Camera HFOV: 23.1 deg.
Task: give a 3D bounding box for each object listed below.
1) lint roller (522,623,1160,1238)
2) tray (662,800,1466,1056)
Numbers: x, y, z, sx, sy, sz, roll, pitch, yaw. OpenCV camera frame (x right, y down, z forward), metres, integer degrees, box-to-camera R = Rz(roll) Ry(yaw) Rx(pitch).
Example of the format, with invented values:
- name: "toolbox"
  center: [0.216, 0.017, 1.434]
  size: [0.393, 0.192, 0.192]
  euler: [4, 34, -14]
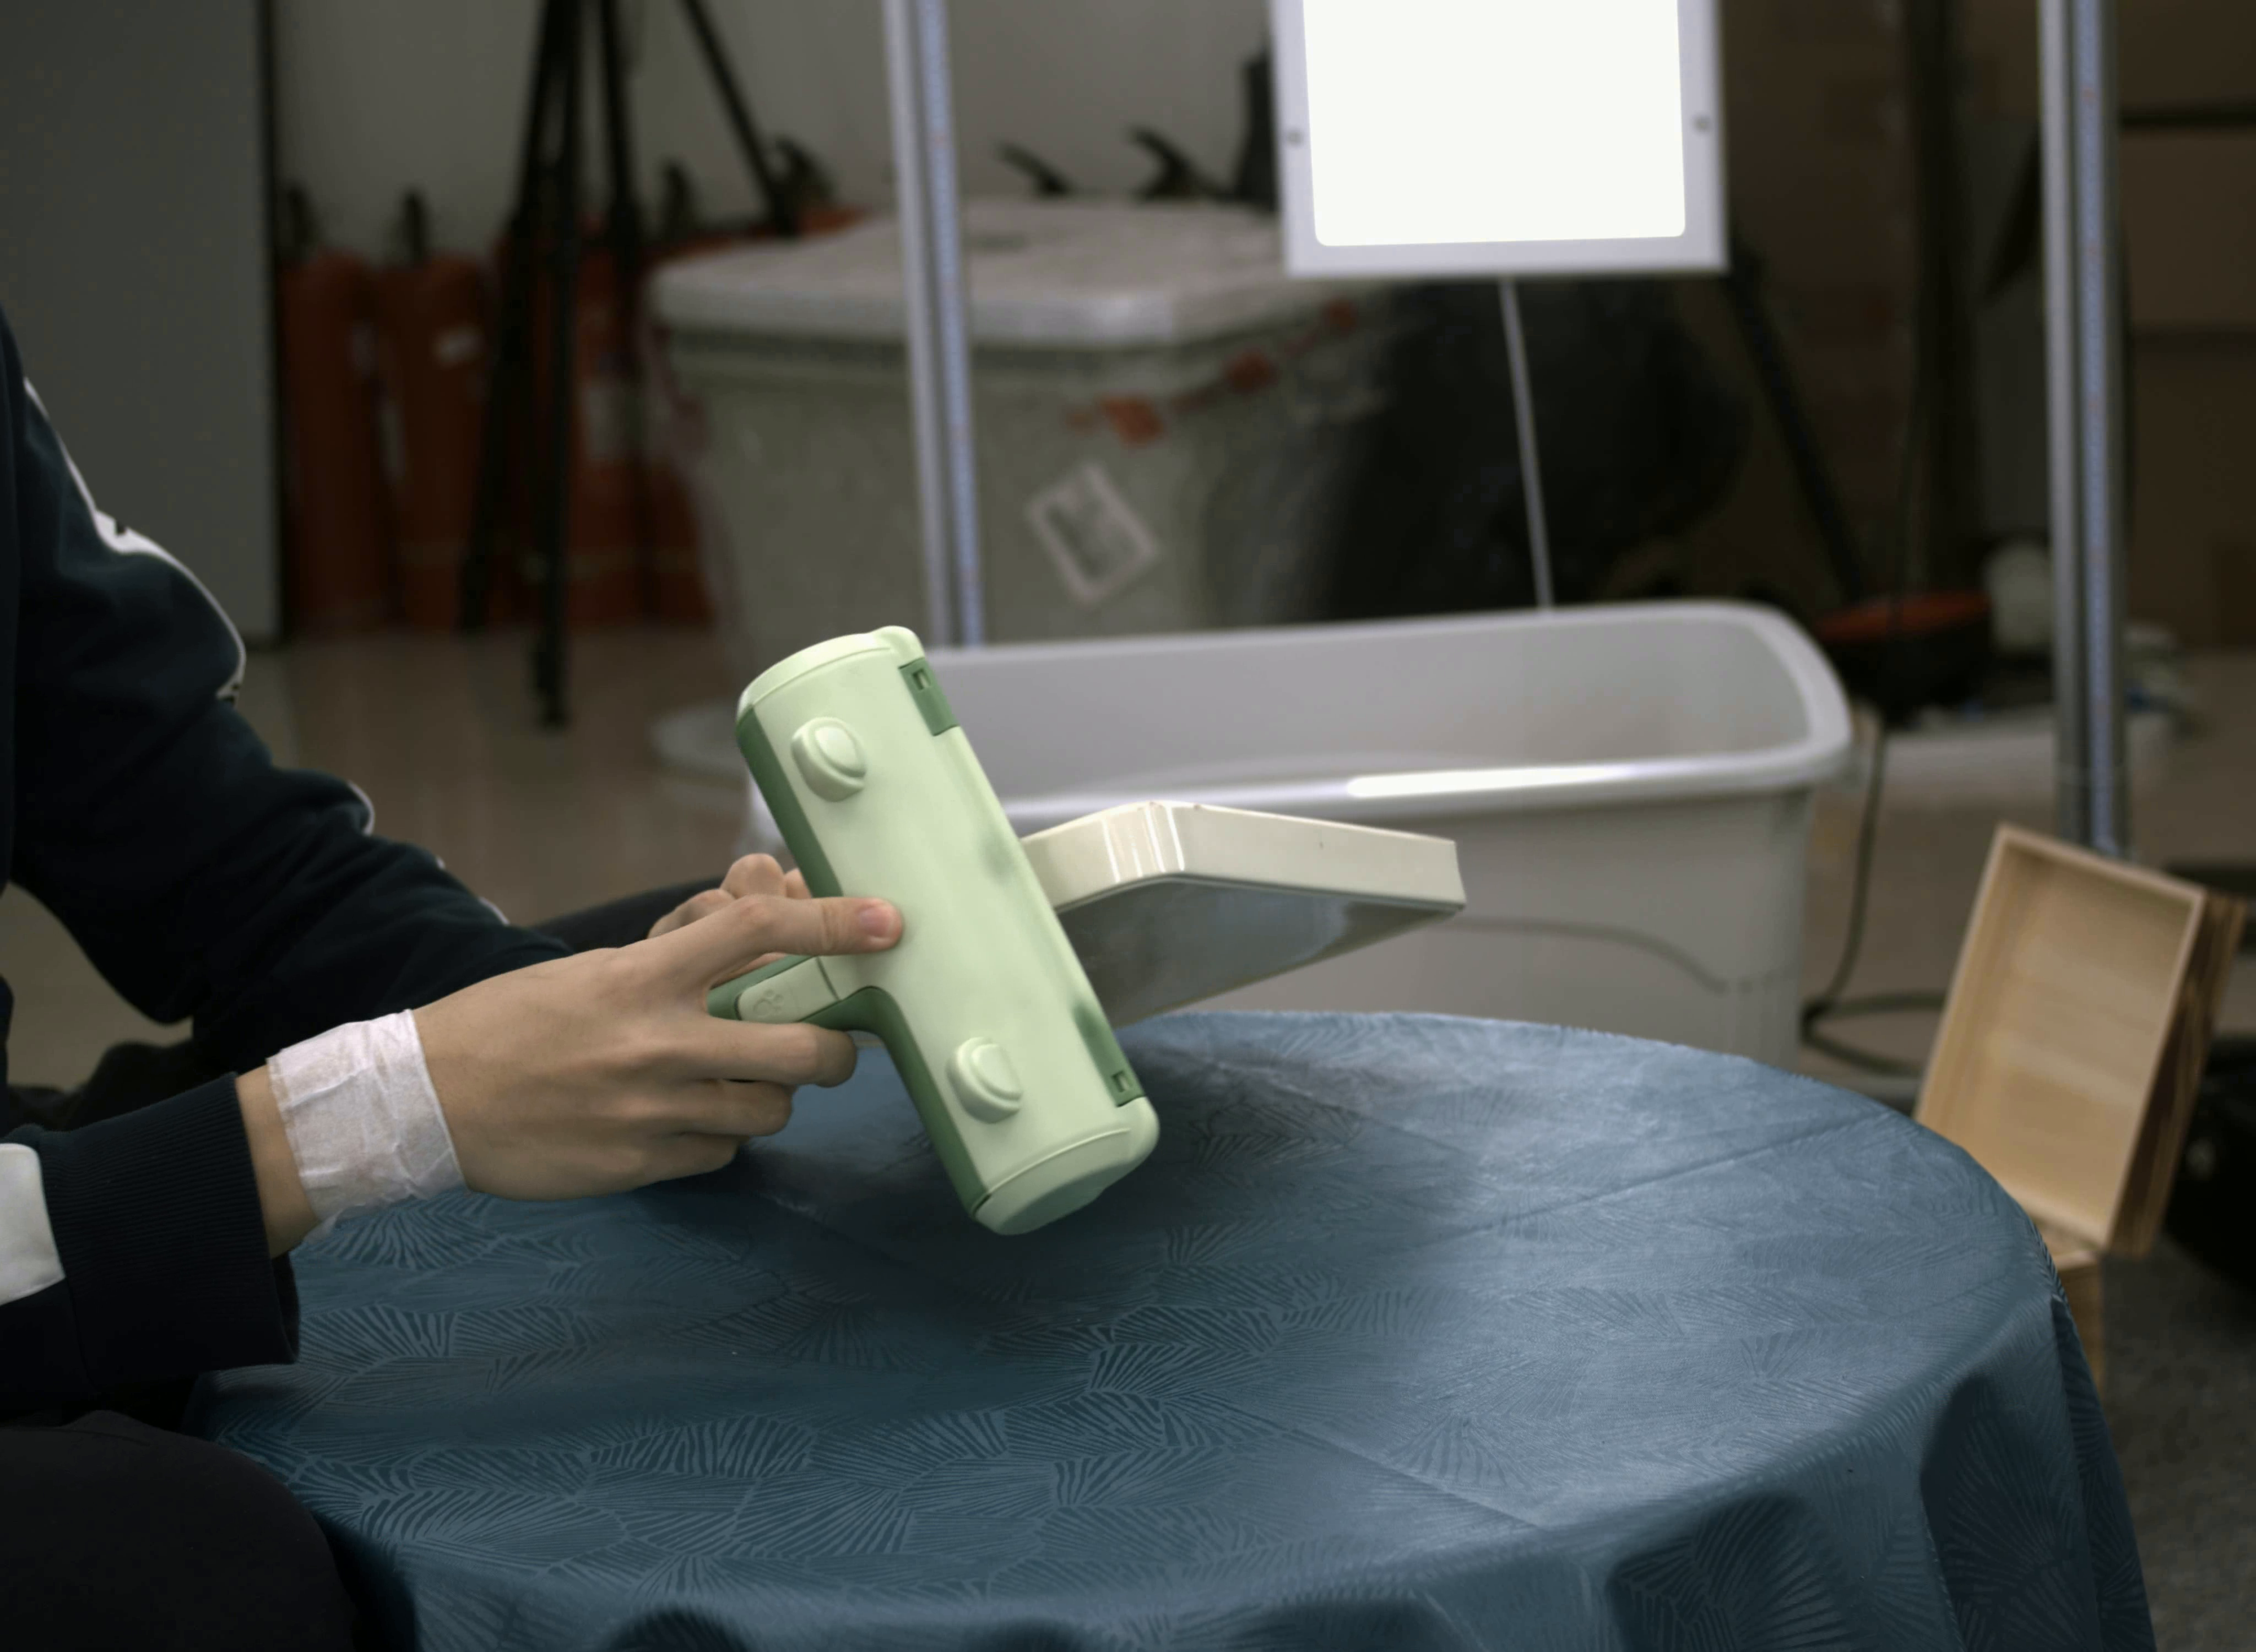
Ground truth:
- name: "lint roller"
  center: [-0.111, 0.054, 1.734]
  size: [0.182, 0.199, 0.082]
  euler: [-25, -16, -4]
- name: "tray"
  center: [-0.015, 0.041, 1.912]
  size: [0.194, 0.027, 0.294]
  euler: [-20, -11, 23]
